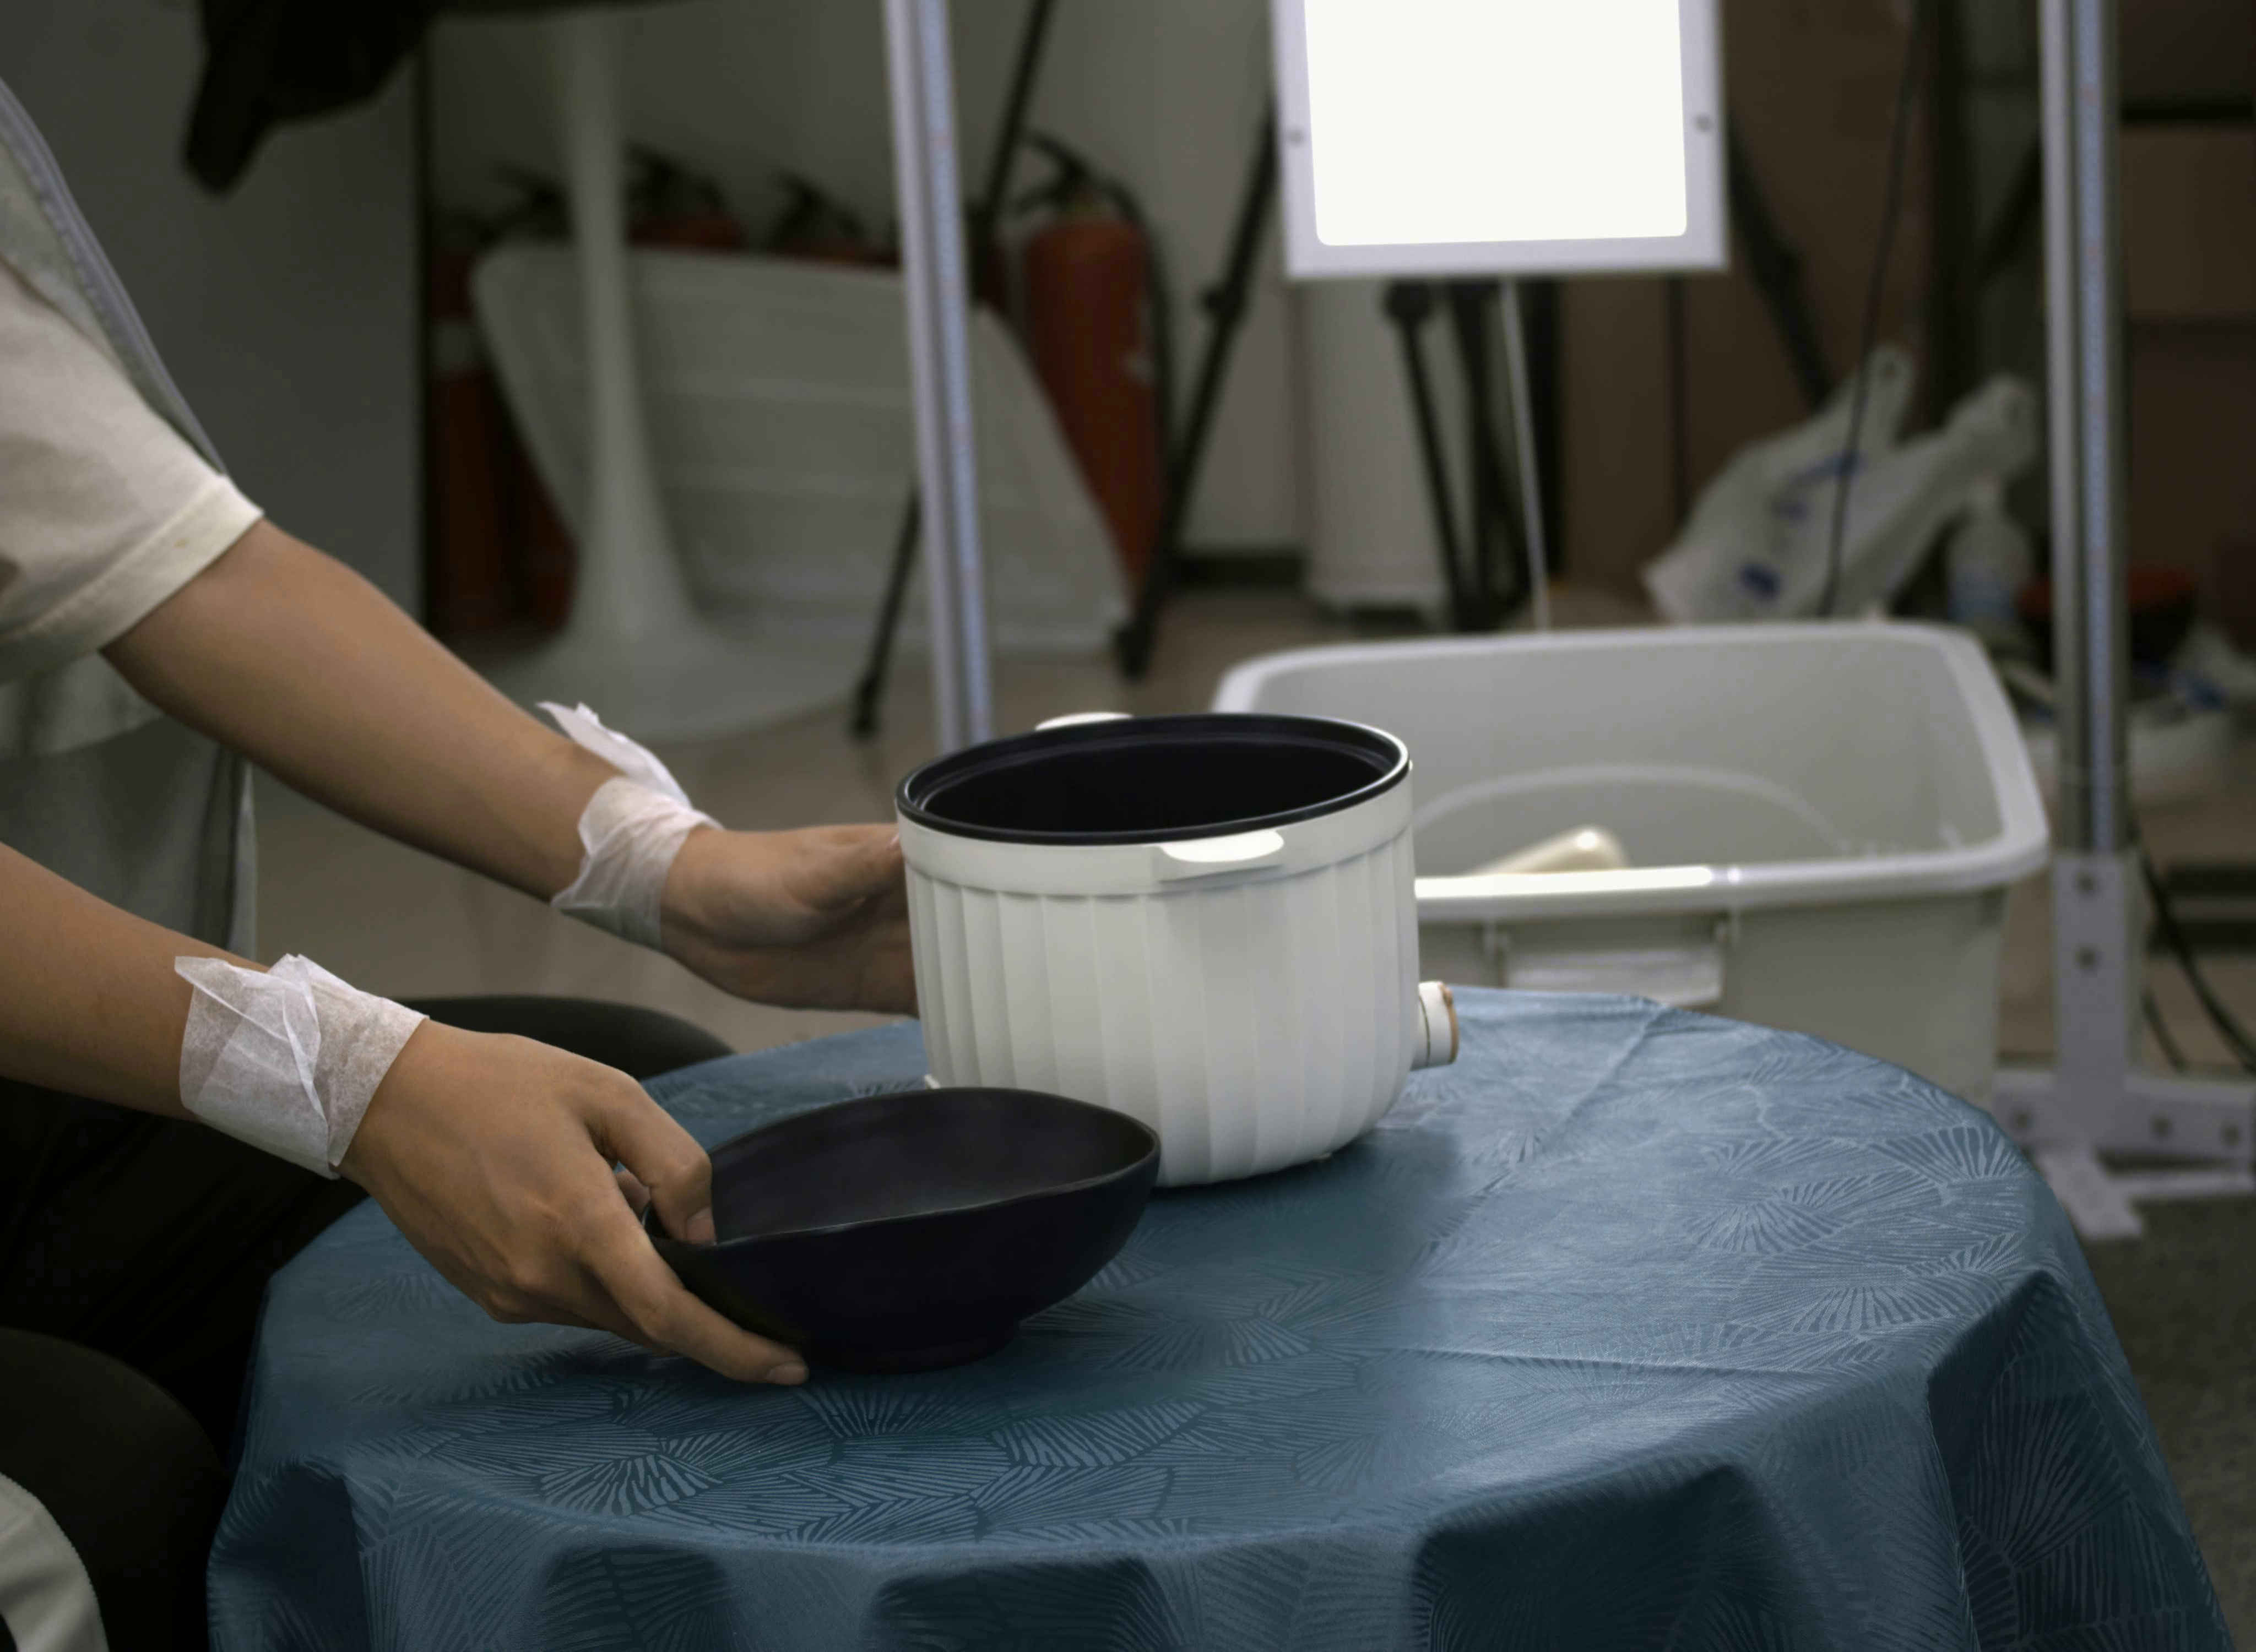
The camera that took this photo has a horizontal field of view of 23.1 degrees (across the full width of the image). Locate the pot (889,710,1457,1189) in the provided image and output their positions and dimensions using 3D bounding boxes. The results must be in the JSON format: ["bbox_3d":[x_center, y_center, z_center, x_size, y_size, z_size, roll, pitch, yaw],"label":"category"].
[{"bbox_3d":[0.018,0.044,1.937,0.188,0.143,0.242,-11,15,-11],"label":"pot"}]

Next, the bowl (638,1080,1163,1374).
[{"bbox_3d":[-0.069,0.133,1.756,0.168,0.067,0.138,-9,13,-11],"label":"bowl"}]
